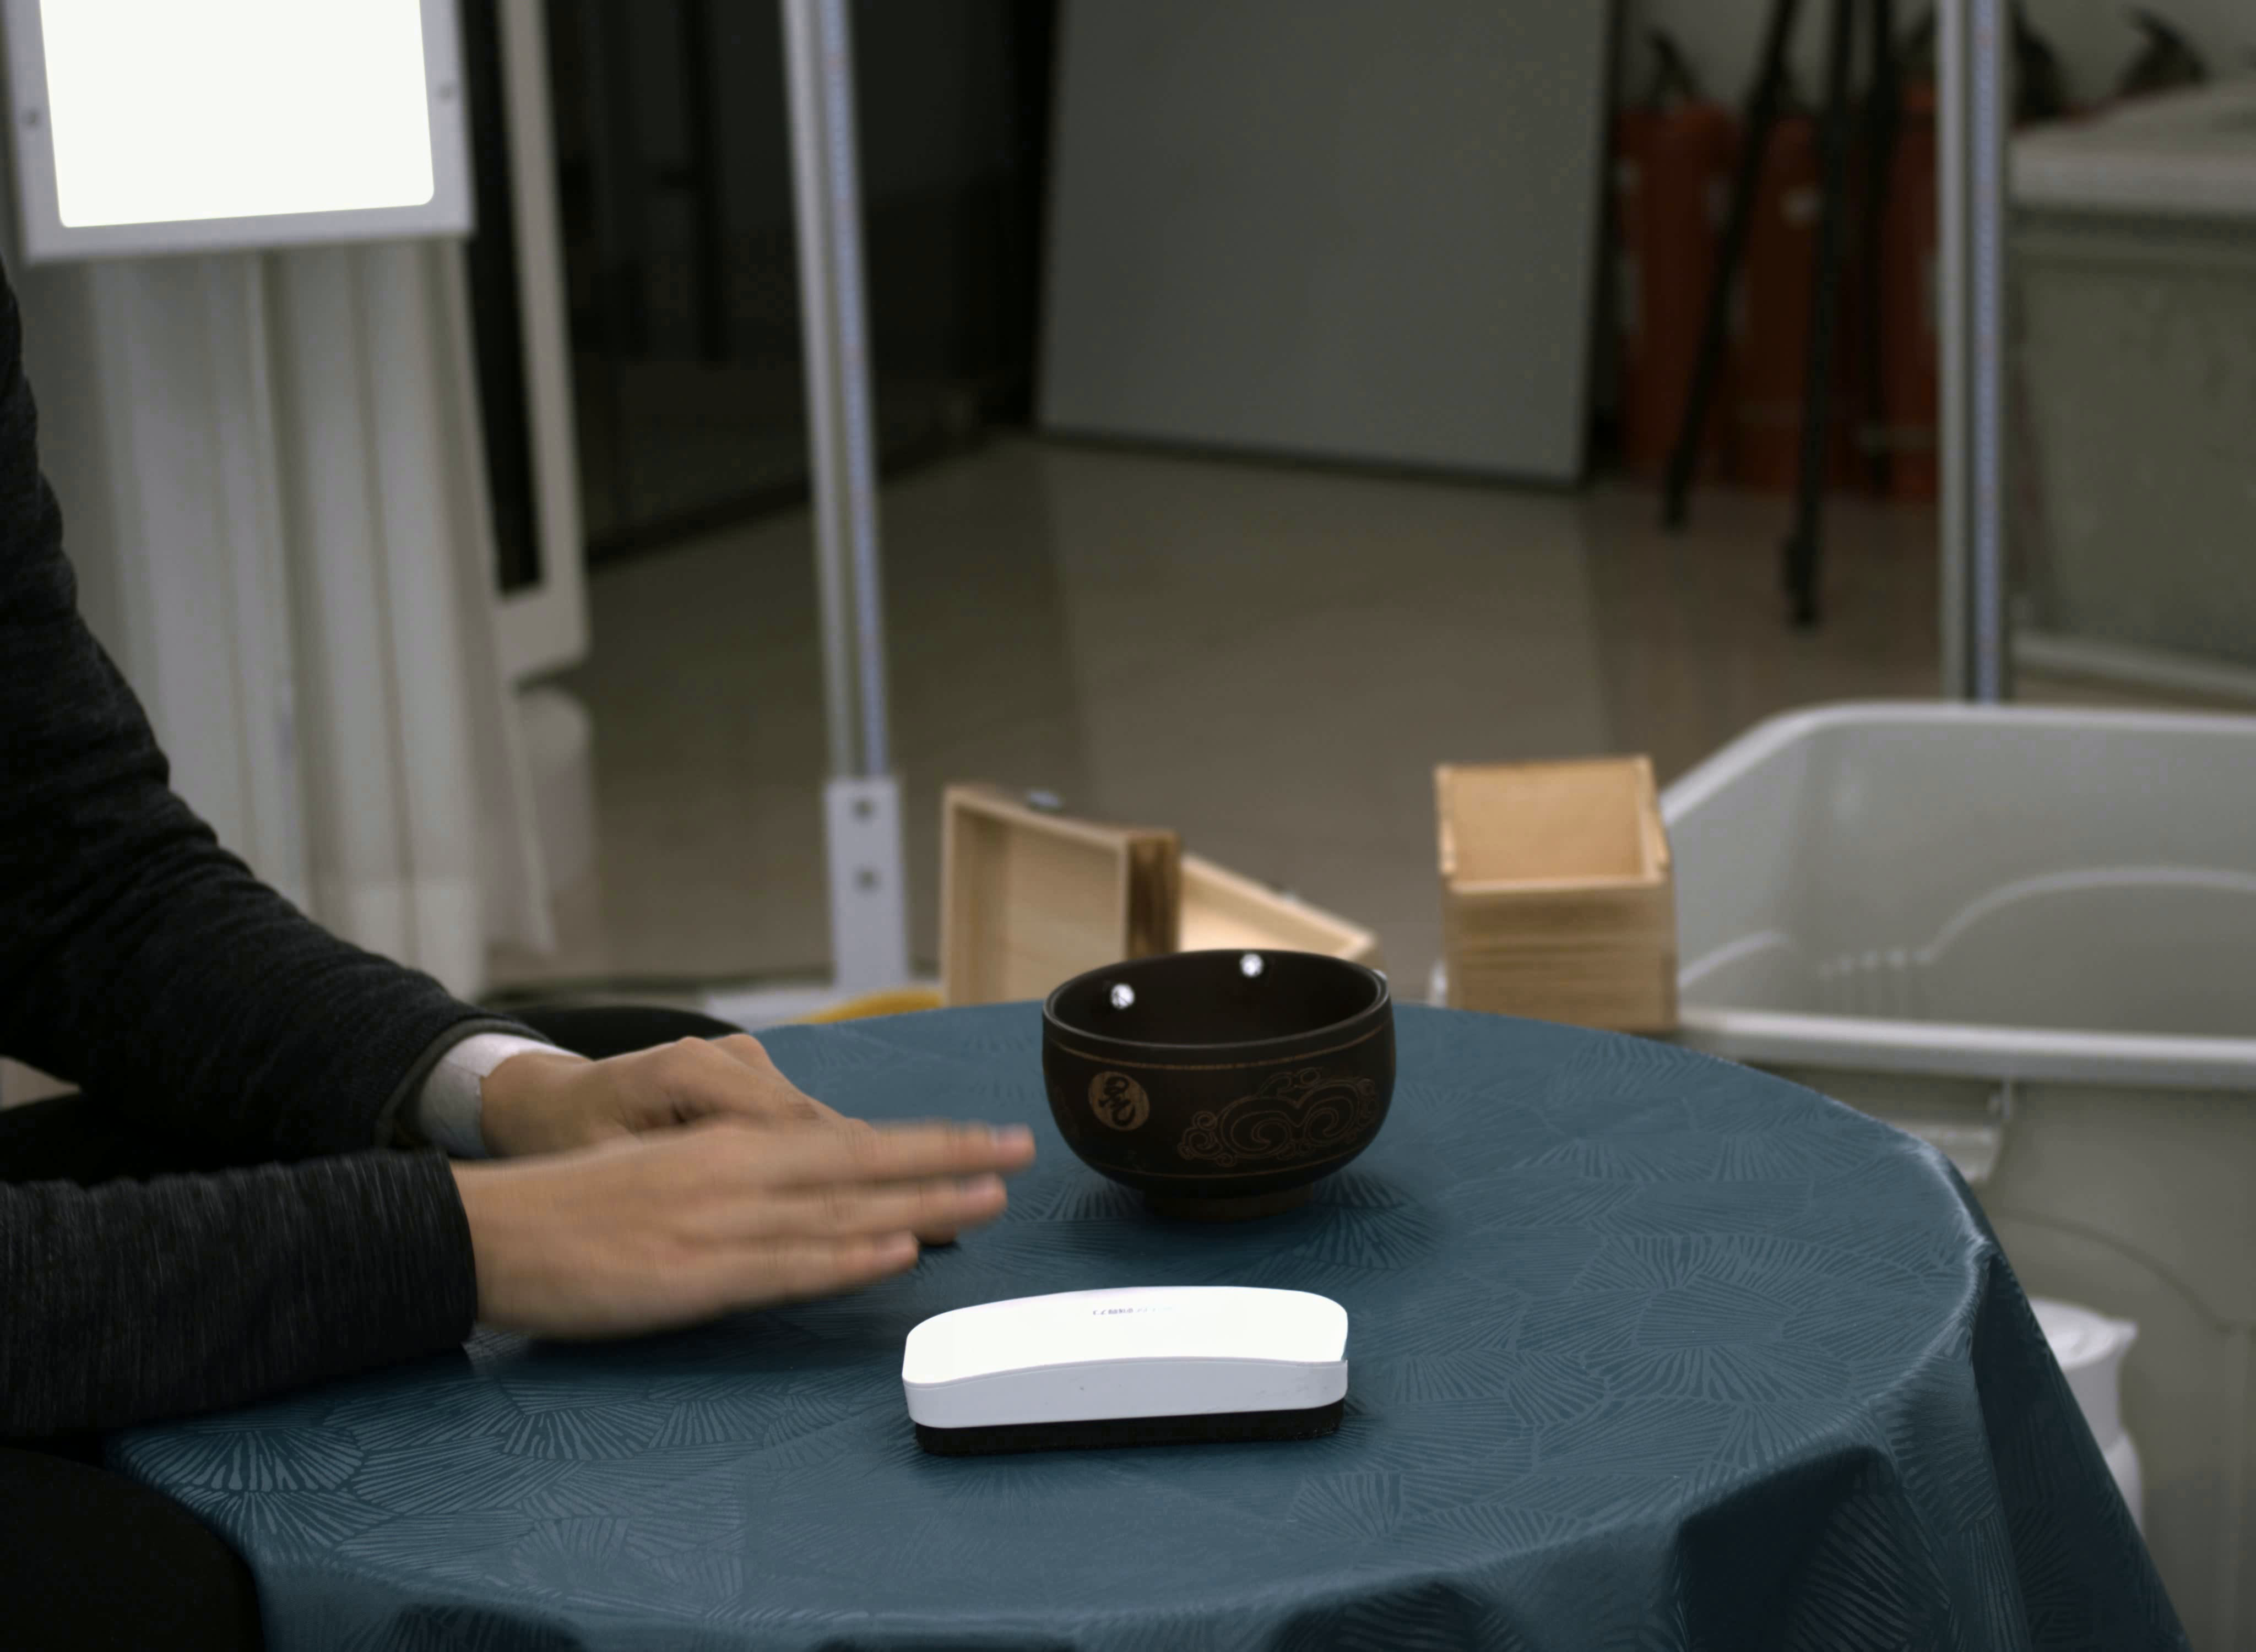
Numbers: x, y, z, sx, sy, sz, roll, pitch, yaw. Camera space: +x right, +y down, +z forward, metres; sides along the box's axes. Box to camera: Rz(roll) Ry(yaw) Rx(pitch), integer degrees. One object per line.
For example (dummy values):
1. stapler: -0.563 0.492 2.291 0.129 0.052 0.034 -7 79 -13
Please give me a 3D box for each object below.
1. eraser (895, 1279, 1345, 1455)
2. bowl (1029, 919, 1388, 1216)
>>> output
1. eraser: -0.002 0.156 1.561 0.130 0.035 0.063 -2 12 3
2. bowl: 0.028 0.084 1.756 0.116 0.070 0.118 -7 20 2
